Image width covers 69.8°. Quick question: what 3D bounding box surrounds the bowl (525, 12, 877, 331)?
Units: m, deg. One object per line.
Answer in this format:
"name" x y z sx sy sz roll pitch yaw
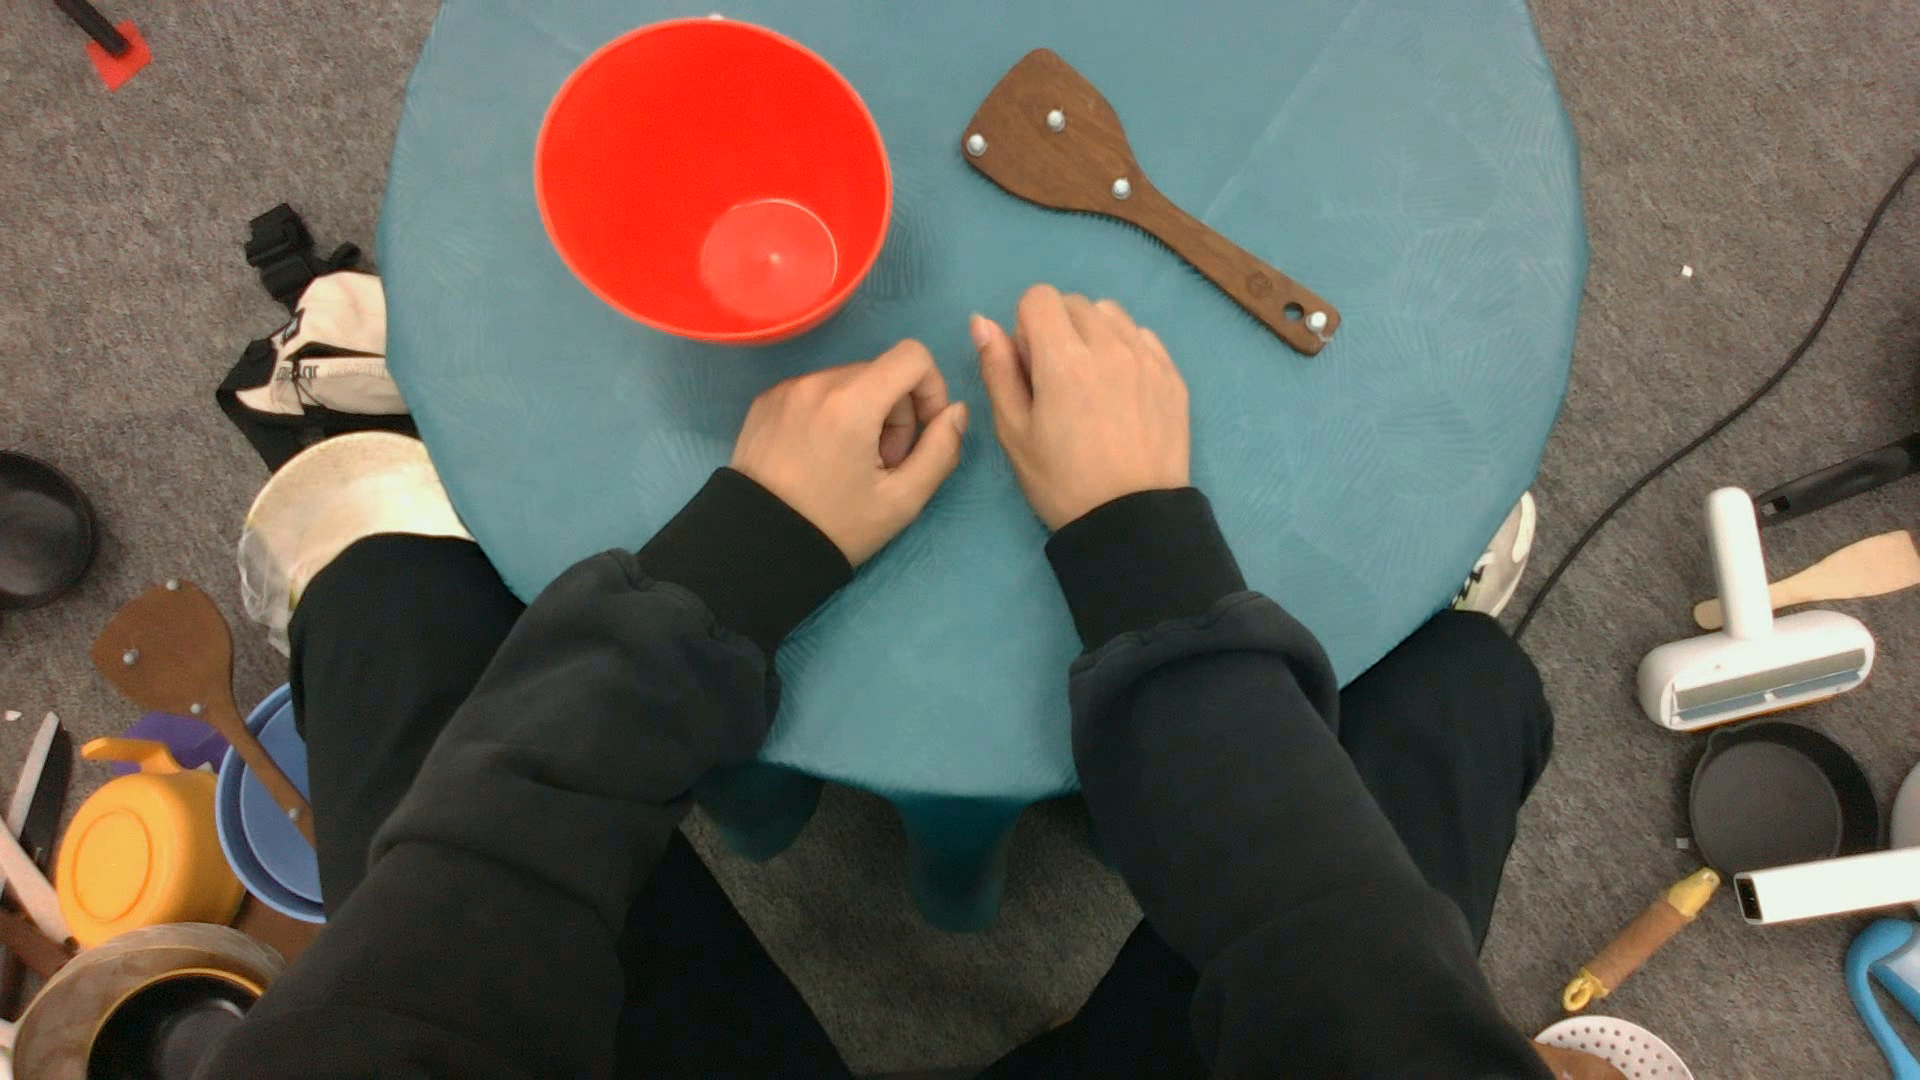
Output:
"bowl" -0.111 -0.154 0.633 0.148 0.104 0.148 0 77 -1

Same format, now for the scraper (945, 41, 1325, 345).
"scraper" 0.091 -0.167 0.687 0.211 0.011 0.076 38 80 7
